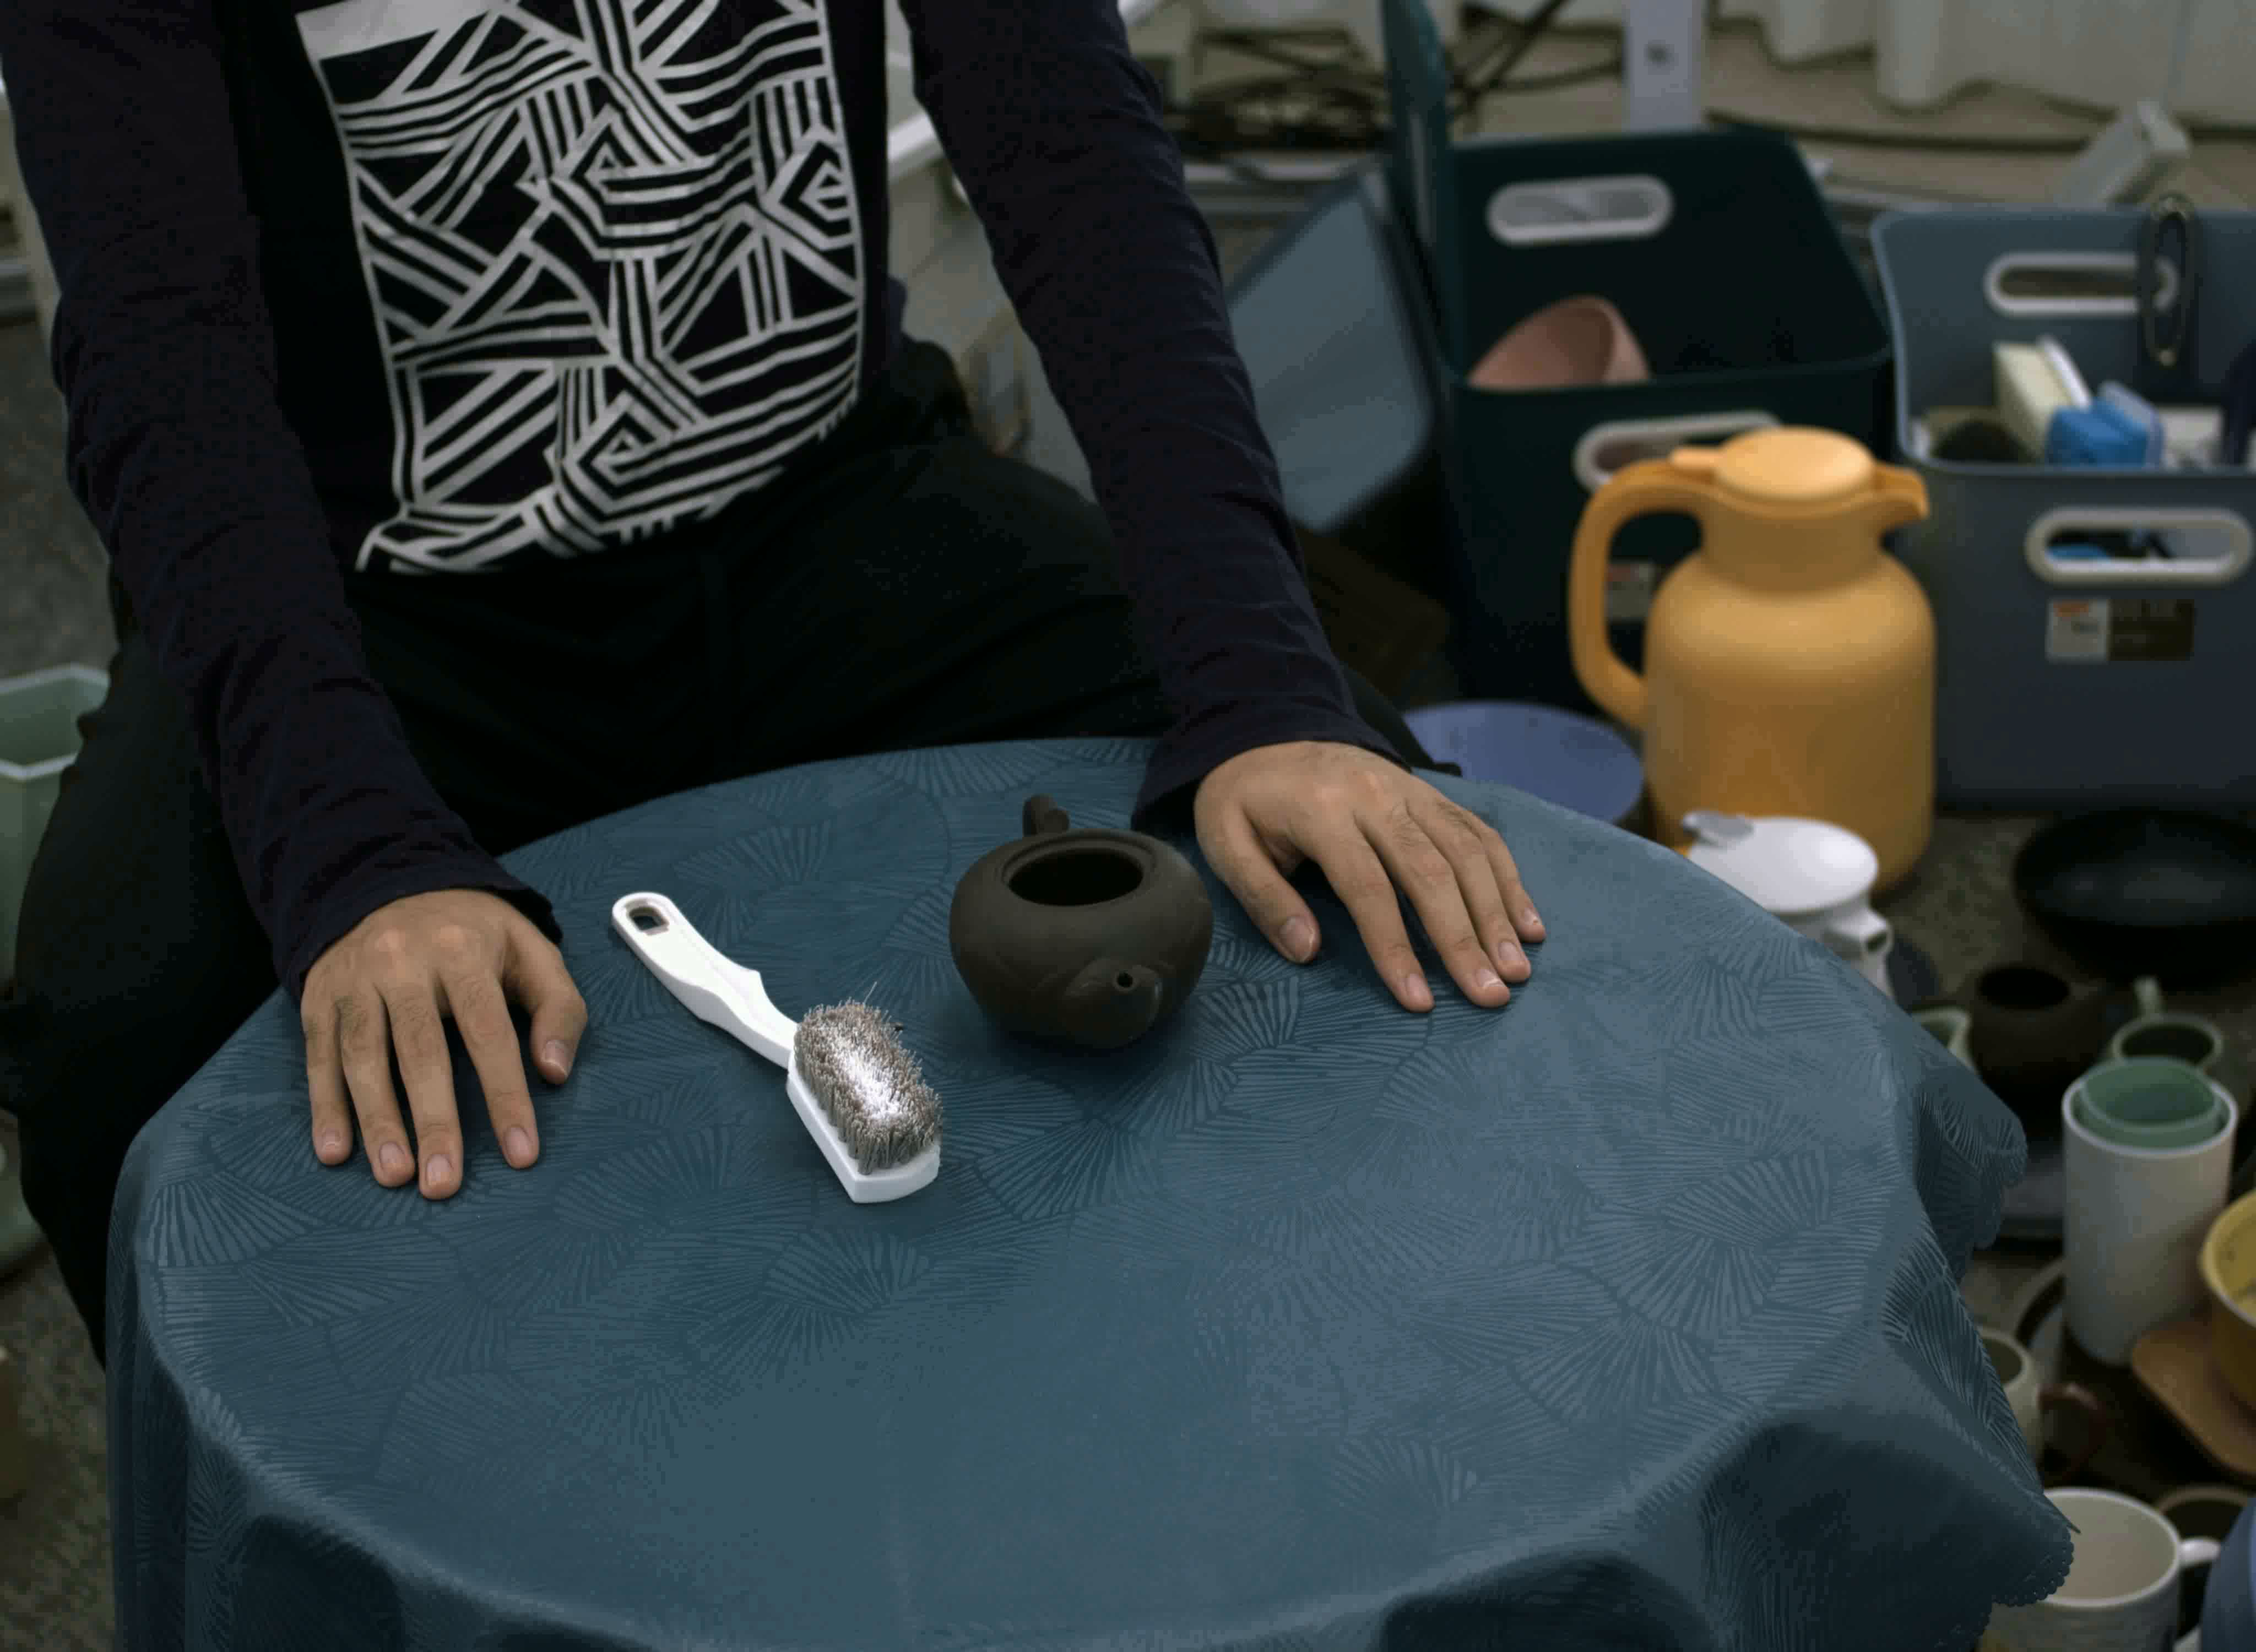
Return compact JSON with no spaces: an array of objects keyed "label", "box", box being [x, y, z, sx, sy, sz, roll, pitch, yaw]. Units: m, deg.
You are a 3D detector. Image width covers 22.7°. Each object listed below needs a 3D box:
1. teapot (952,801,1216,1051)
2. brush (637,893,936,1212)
[{"label":"teapot","box":[-0.016,0.038,1.958,0.092,0.064,0.156,-9,27,-9]},{"label":"brush","box":[-0.124,0.060,1.940,0.034,0.049,0.245,-18,30,-18]}]
